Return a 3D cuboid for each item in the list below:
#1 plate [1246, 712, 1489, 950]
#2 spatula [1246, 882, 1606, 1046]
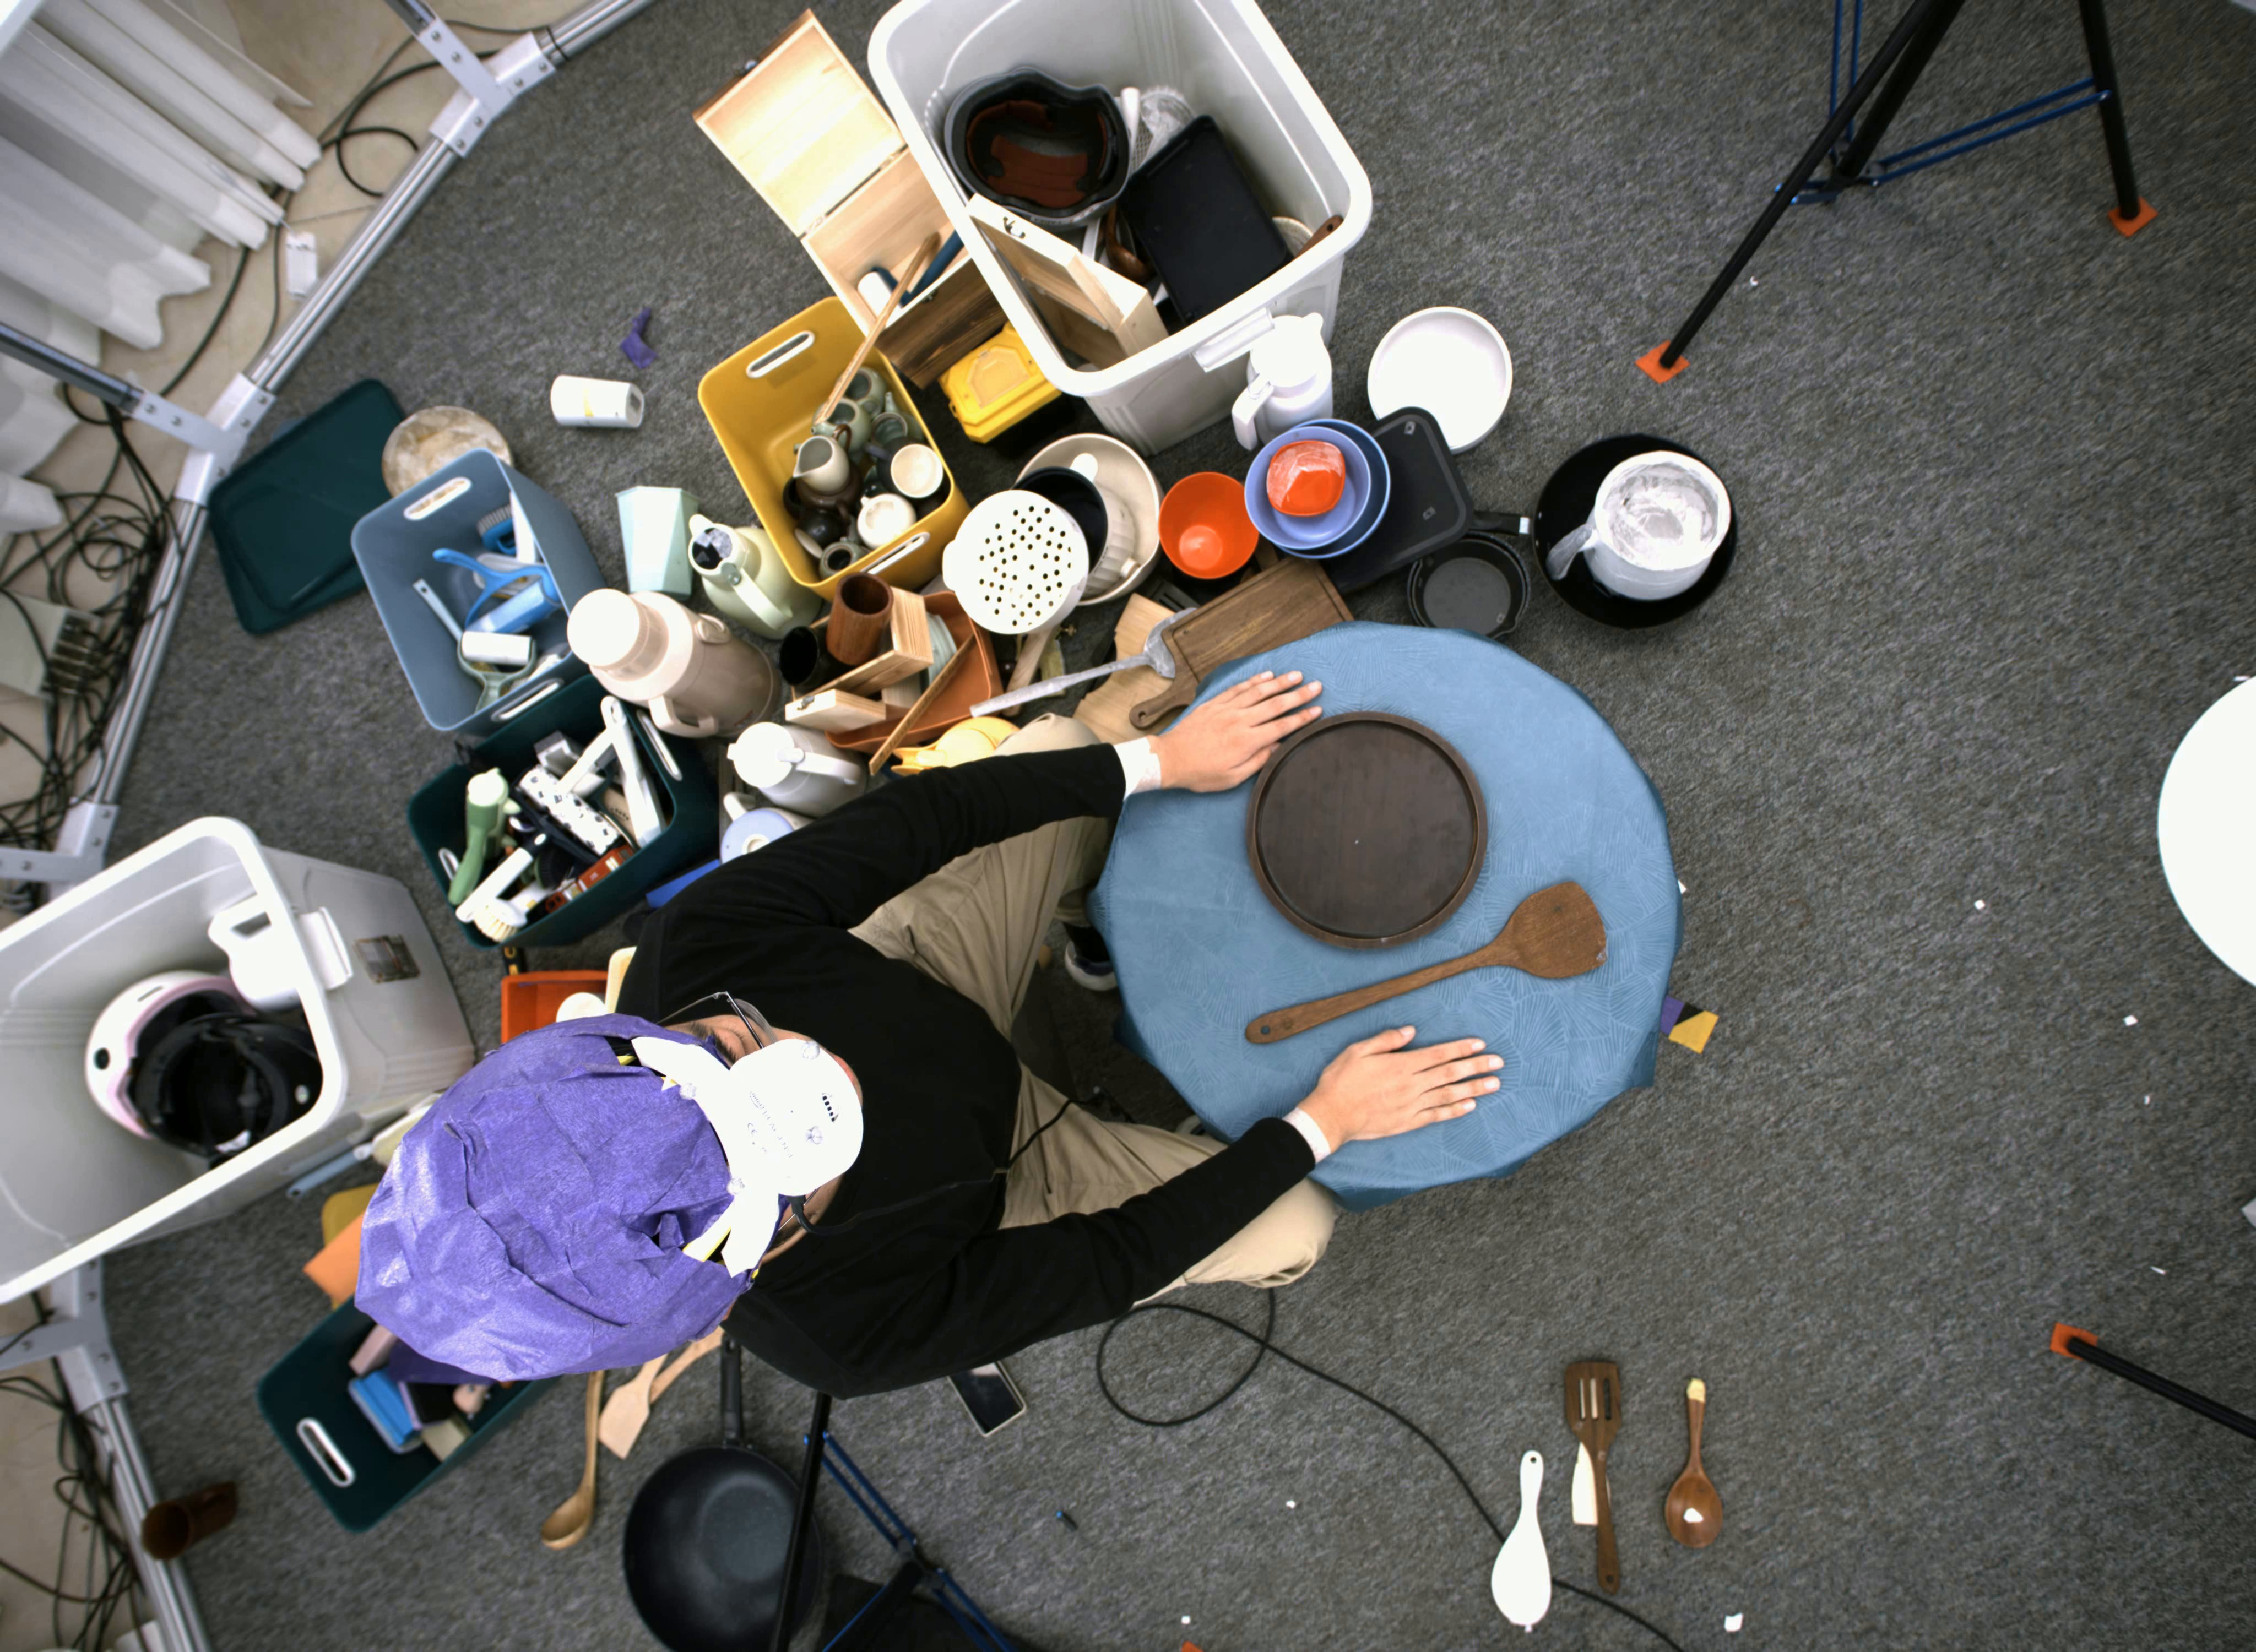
[{"bbox_3d":[0.251,0.003,1.455,0.256,0.029,0.254,-1,88,10],"label":"plate"},{"bbox_3d":[0.305,0.158,1.441,0.388,0.016,0.095,-20,83,9],"label":"spatula"}]
